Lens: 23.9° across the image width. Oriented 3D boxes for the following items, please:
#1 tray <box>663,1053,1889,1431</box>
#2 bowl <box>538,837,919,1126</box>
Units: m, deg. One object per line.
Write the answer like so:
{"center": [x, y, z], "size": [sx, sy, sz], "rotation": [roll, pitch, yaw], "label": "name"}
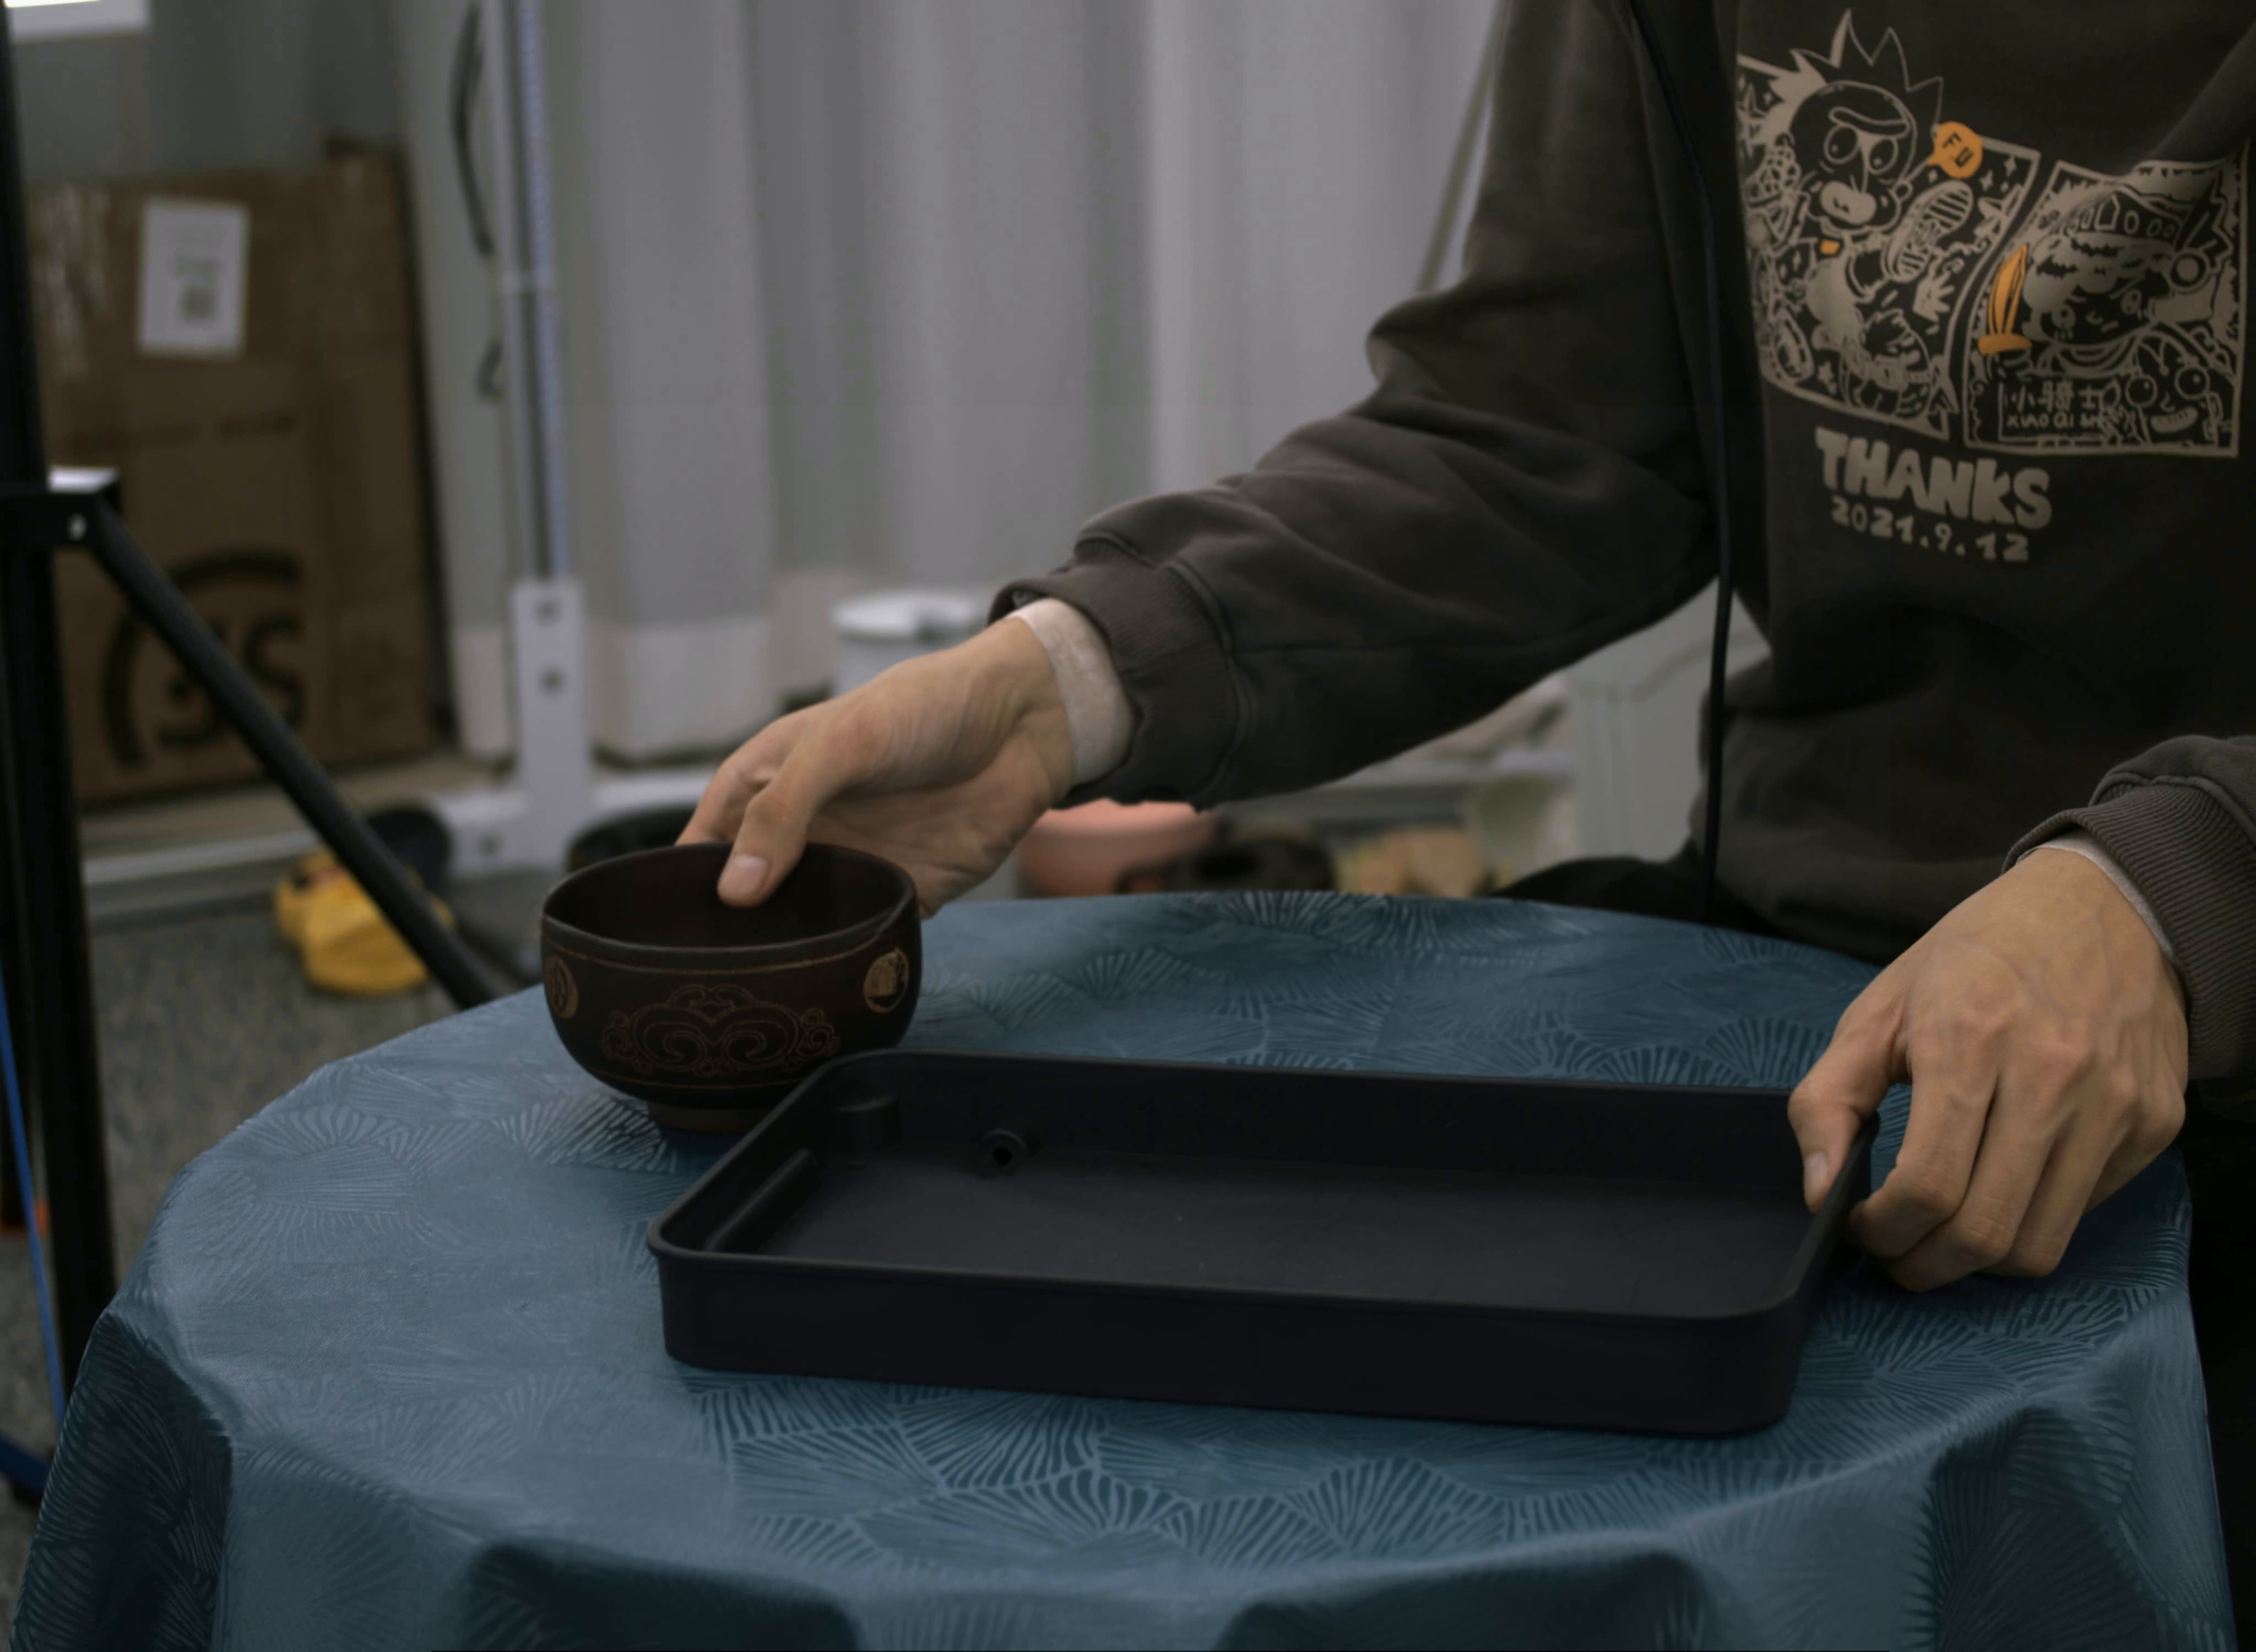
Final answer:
{"center": [0.045, 0.112, 1.472], "size": [0.321, 0.037, 0.182], "rotation": [1, 16, 17], "label": "tray"}
{"center": [-0.123, 0.052, 1.650], "size": [0.117, 0.070, 0.118], "rotation": [-1, 15, -1], "label": "bowl"}
